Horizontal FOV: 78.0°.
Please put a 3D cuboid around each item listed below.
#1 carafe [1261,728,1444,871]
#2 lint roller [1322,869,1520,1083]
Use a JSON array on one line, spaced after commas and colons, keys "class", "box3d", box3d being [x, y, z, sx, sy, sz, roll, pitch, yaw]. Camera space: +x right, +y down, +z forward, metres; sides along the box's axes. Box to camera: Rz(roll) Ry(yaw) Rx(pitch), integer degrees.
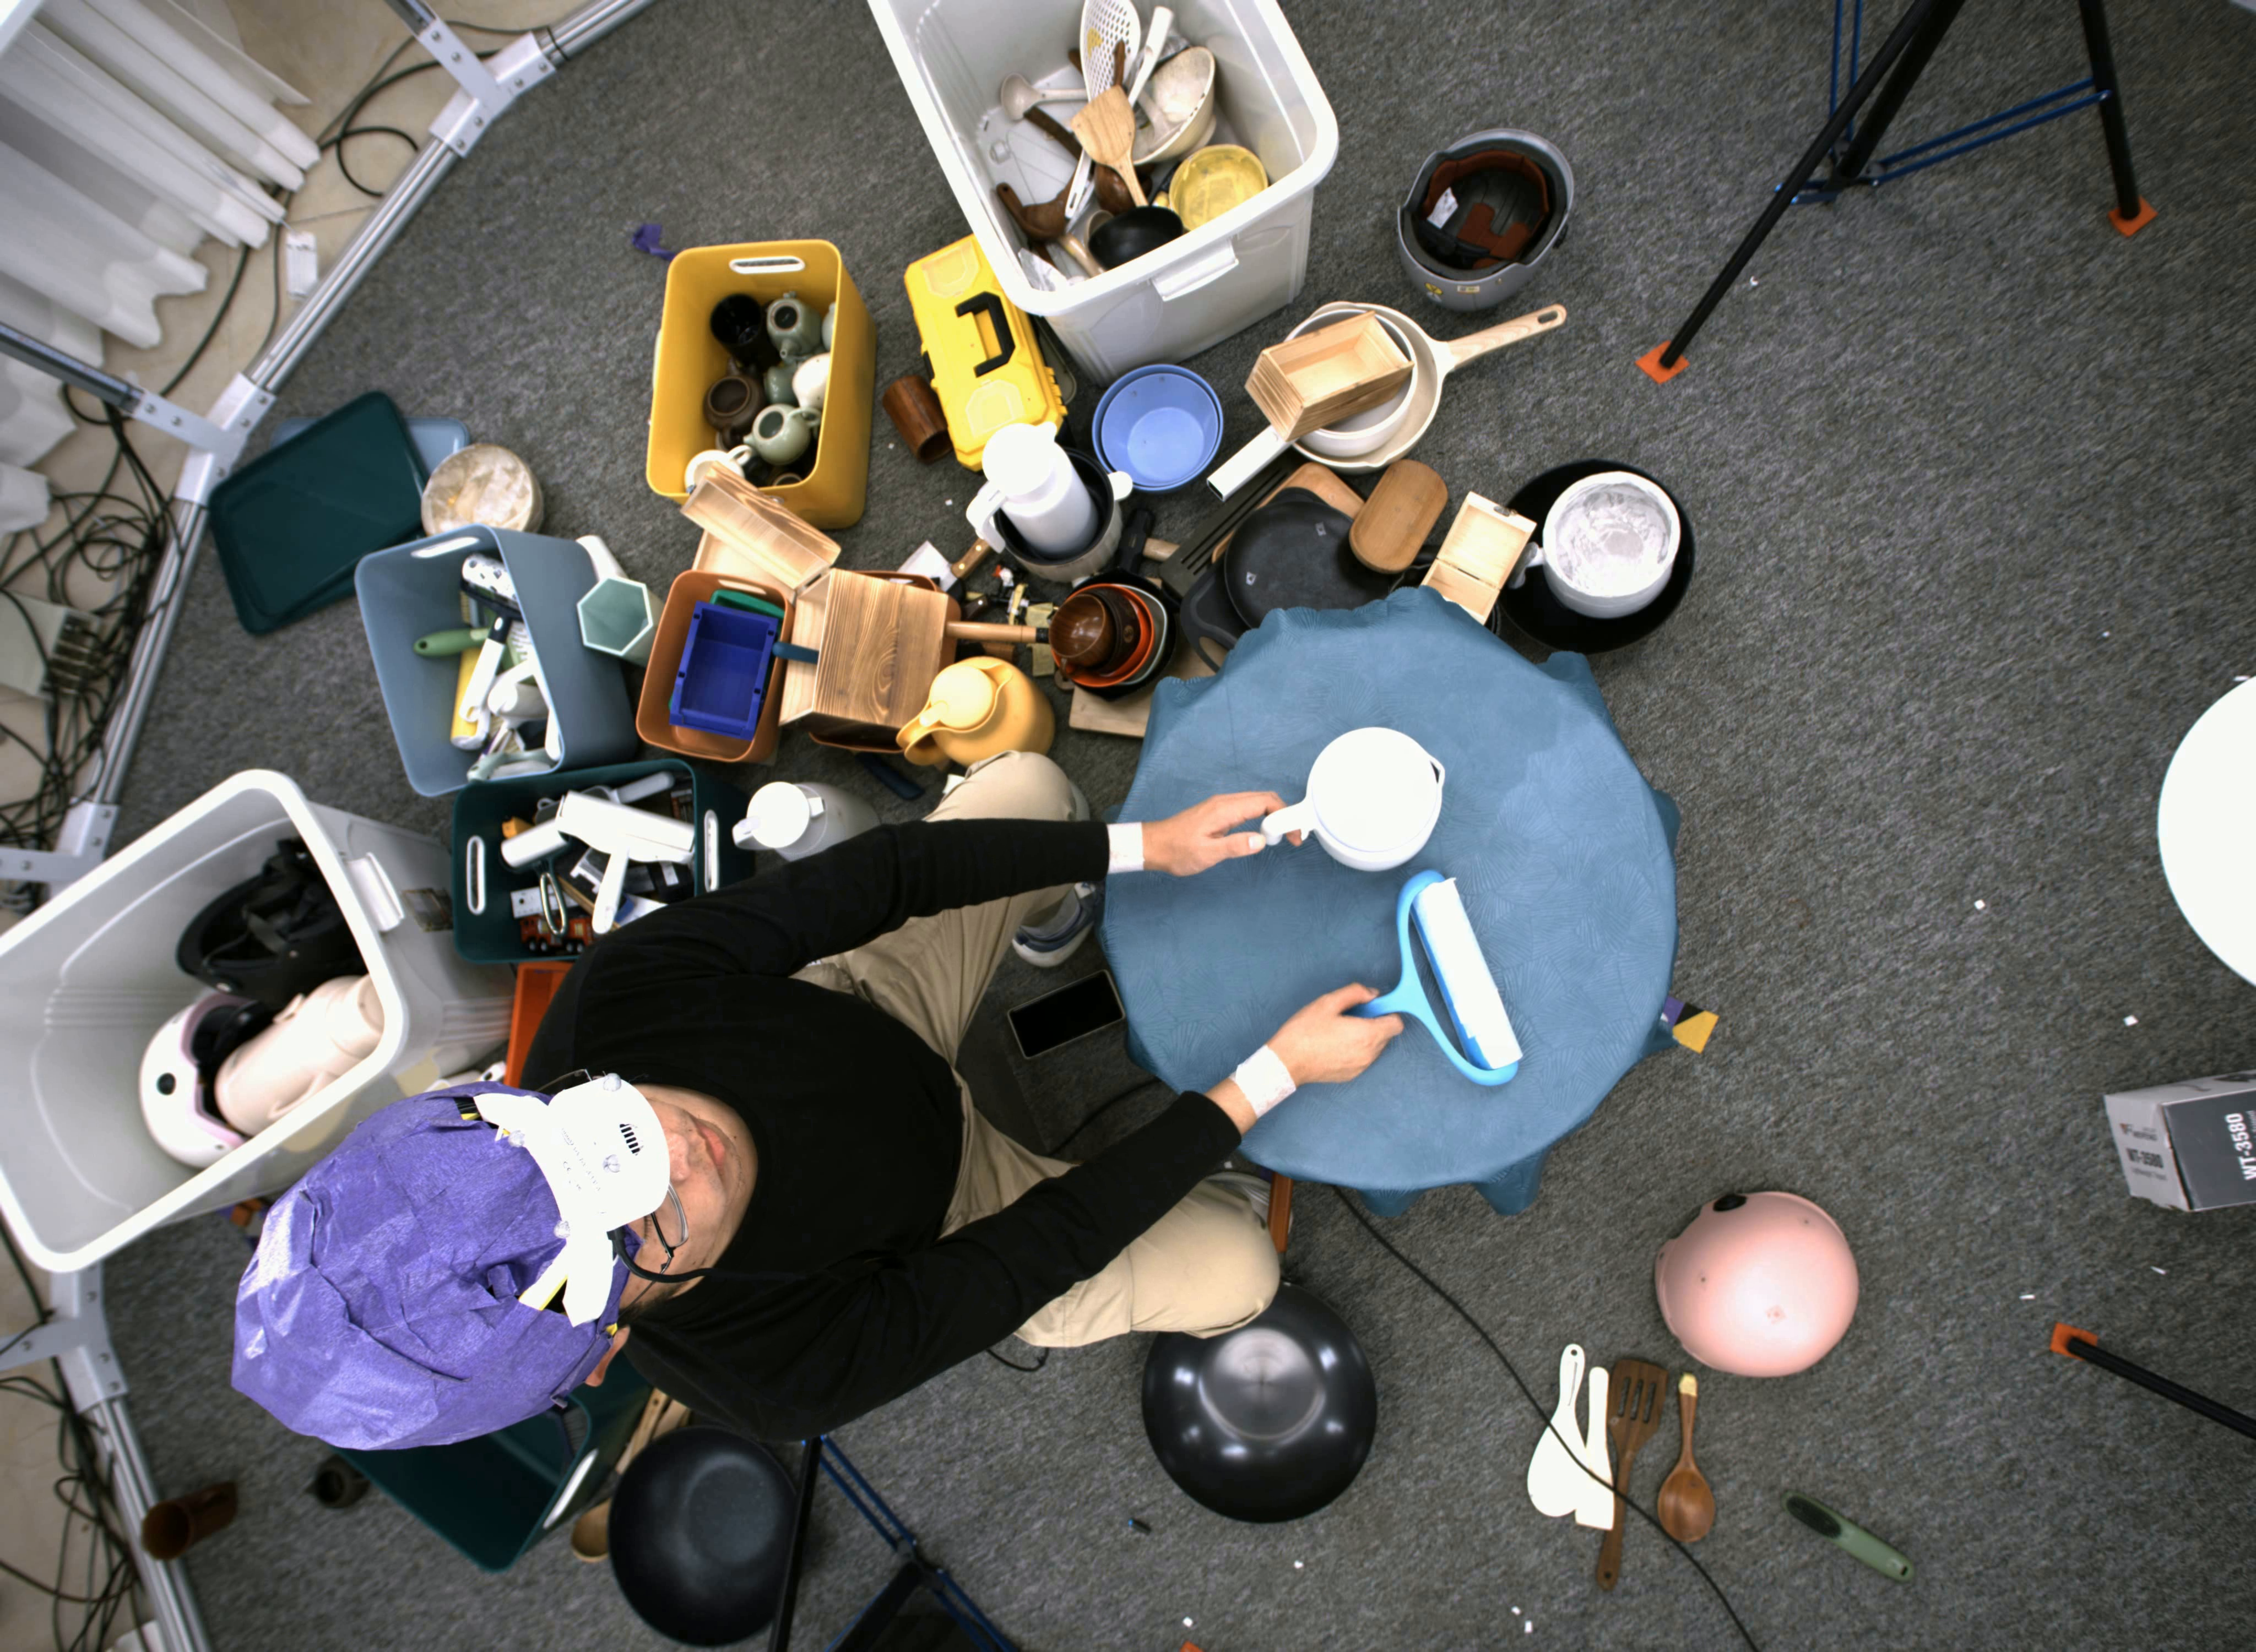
[{"class": "carafe", "box3d": [0.223, -0.018, 1.387, 0.192, 0.182, 0.131, -19, 81, 10]}, {"class": "lint roller", "box3d": [0.288, 0.173, 1.420, 0.180, 0.068, 0.228, -23, 86, 2]}]
